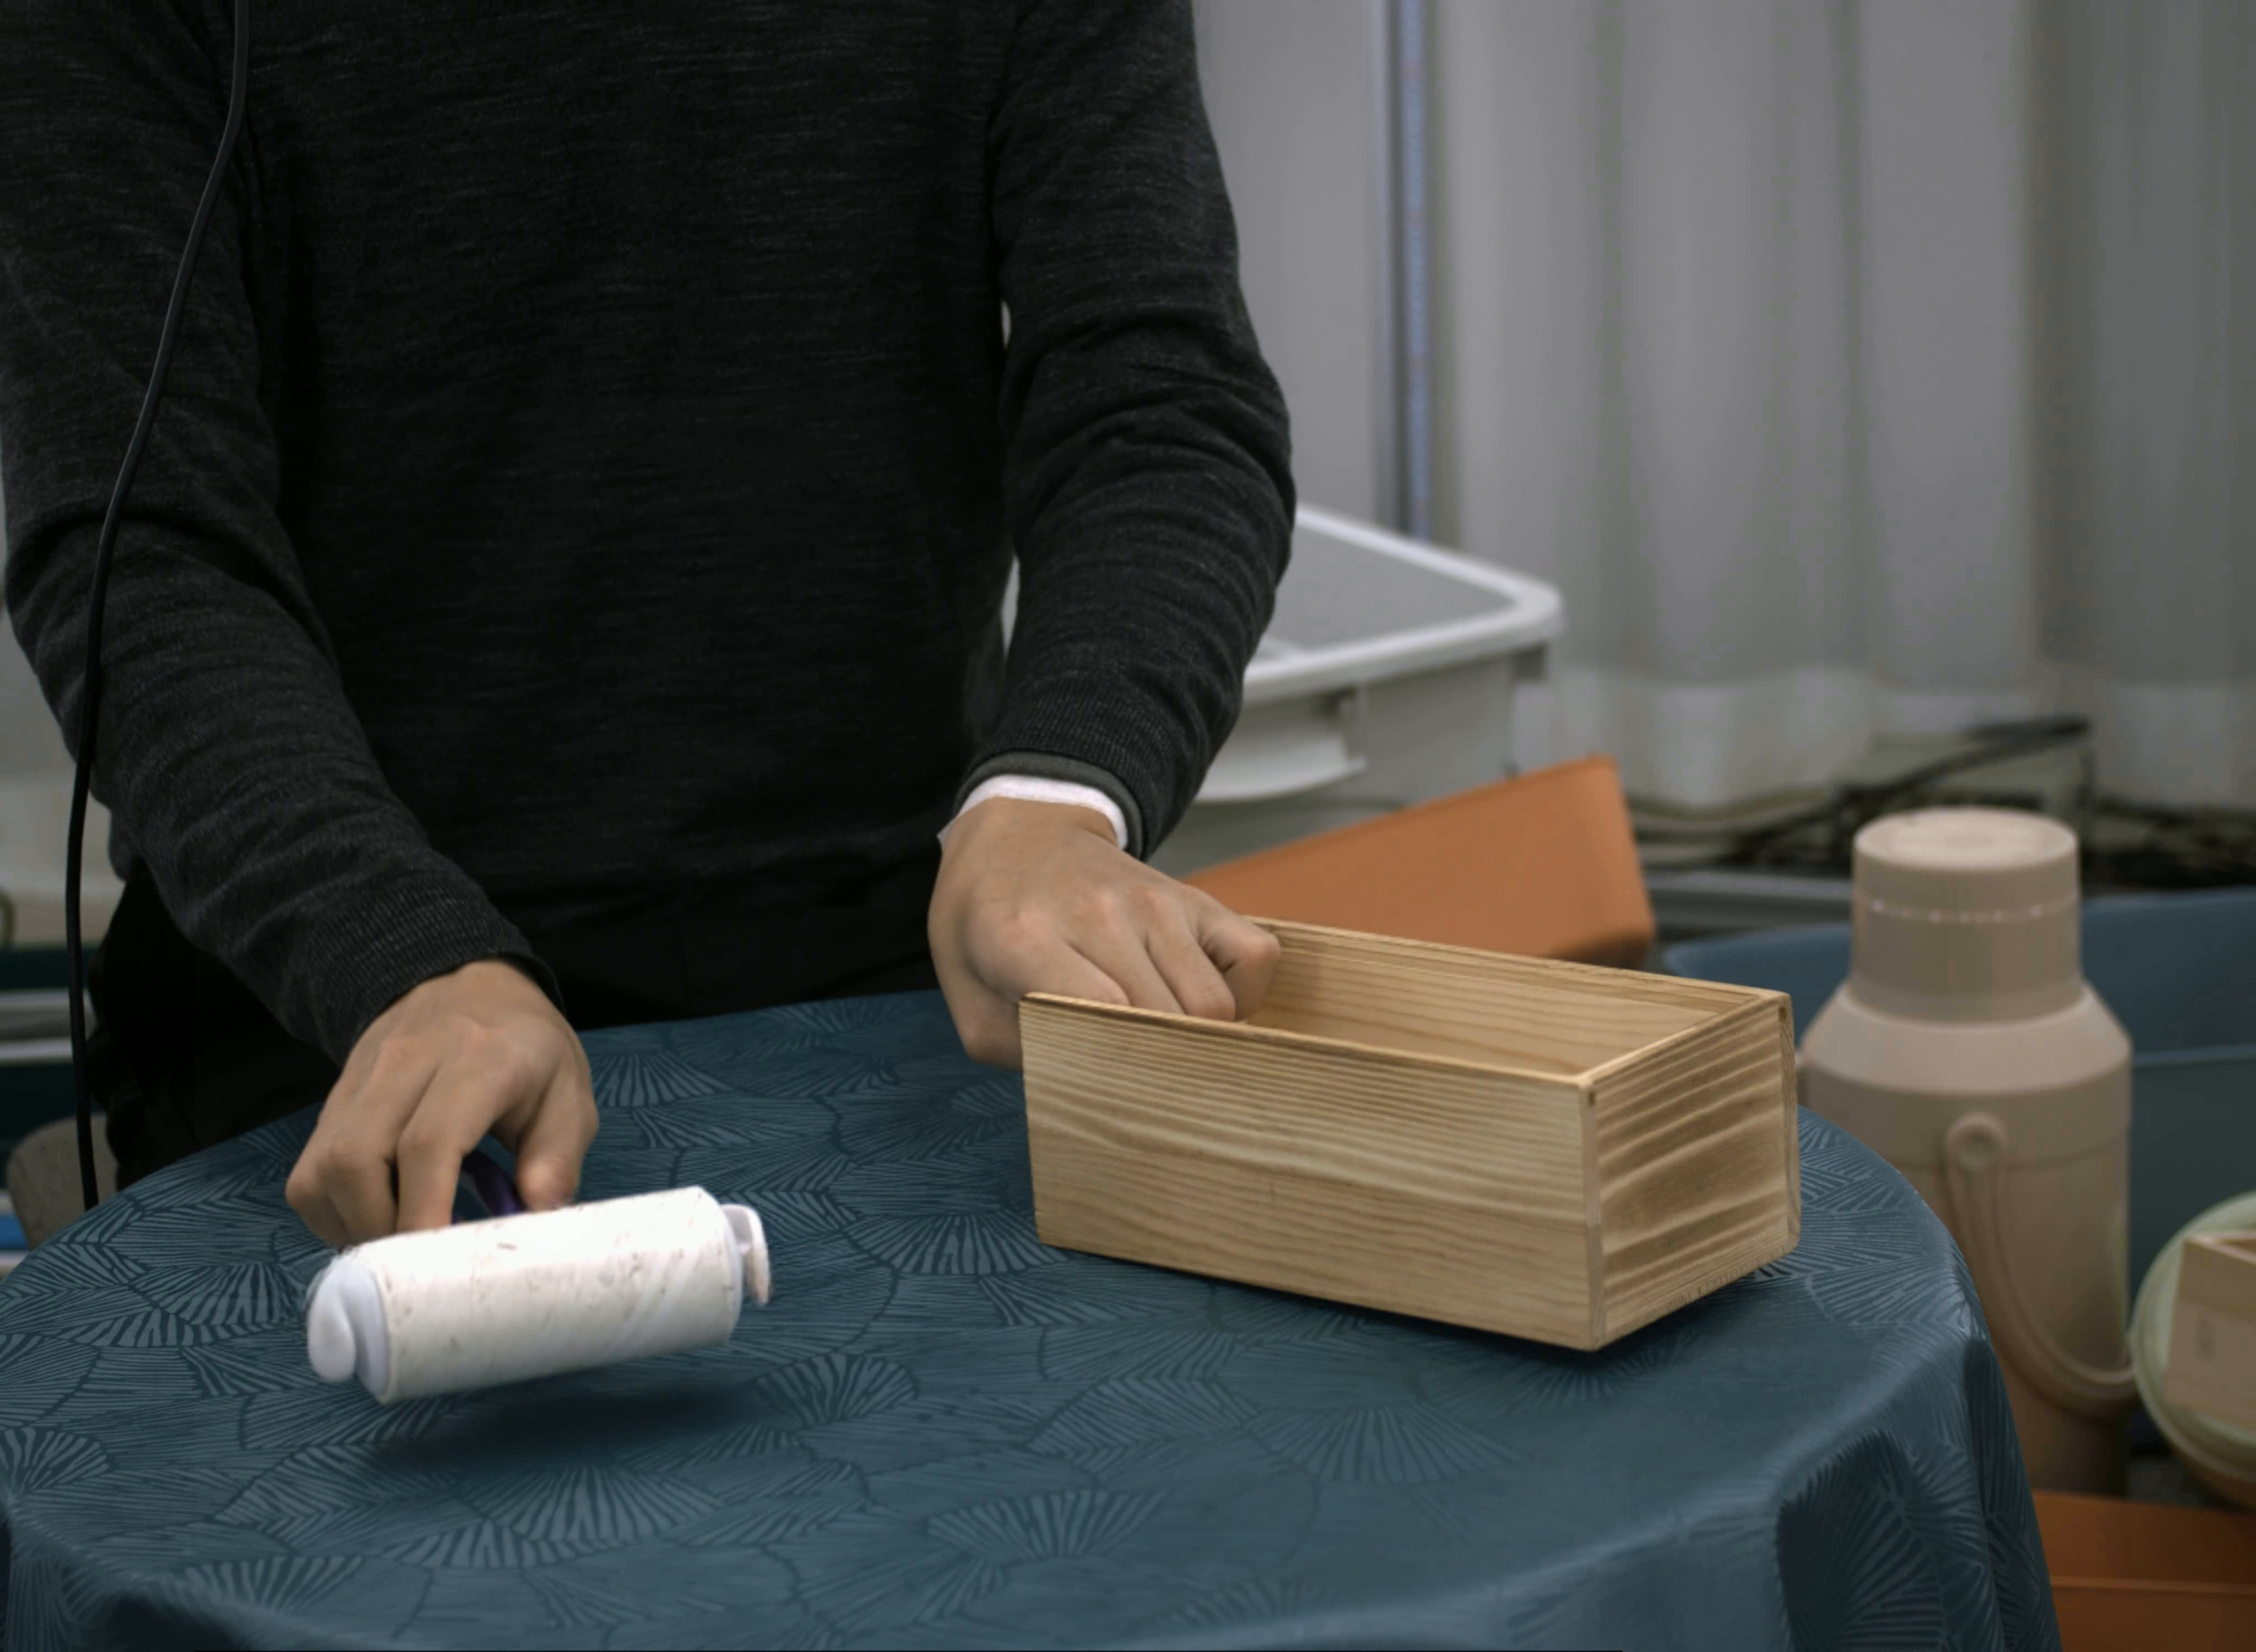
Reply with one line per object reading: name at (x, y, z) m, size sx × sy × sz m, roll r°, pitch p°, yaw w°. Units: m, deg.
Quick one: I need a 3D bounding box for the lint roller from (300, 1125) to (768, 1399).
lint roller at (-0.187, 0.108, 1.589) m, size 0.132 × 0.050 × 0.183 m, roll -8°, pitch 23°, yaw -18°

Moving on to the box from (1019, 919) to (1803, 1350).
box at (0.083, 0.089, 1.630) m, size 0.212 × 0.080 × 0.107 m, roll 6°, pitch 17°, yaw 40°
